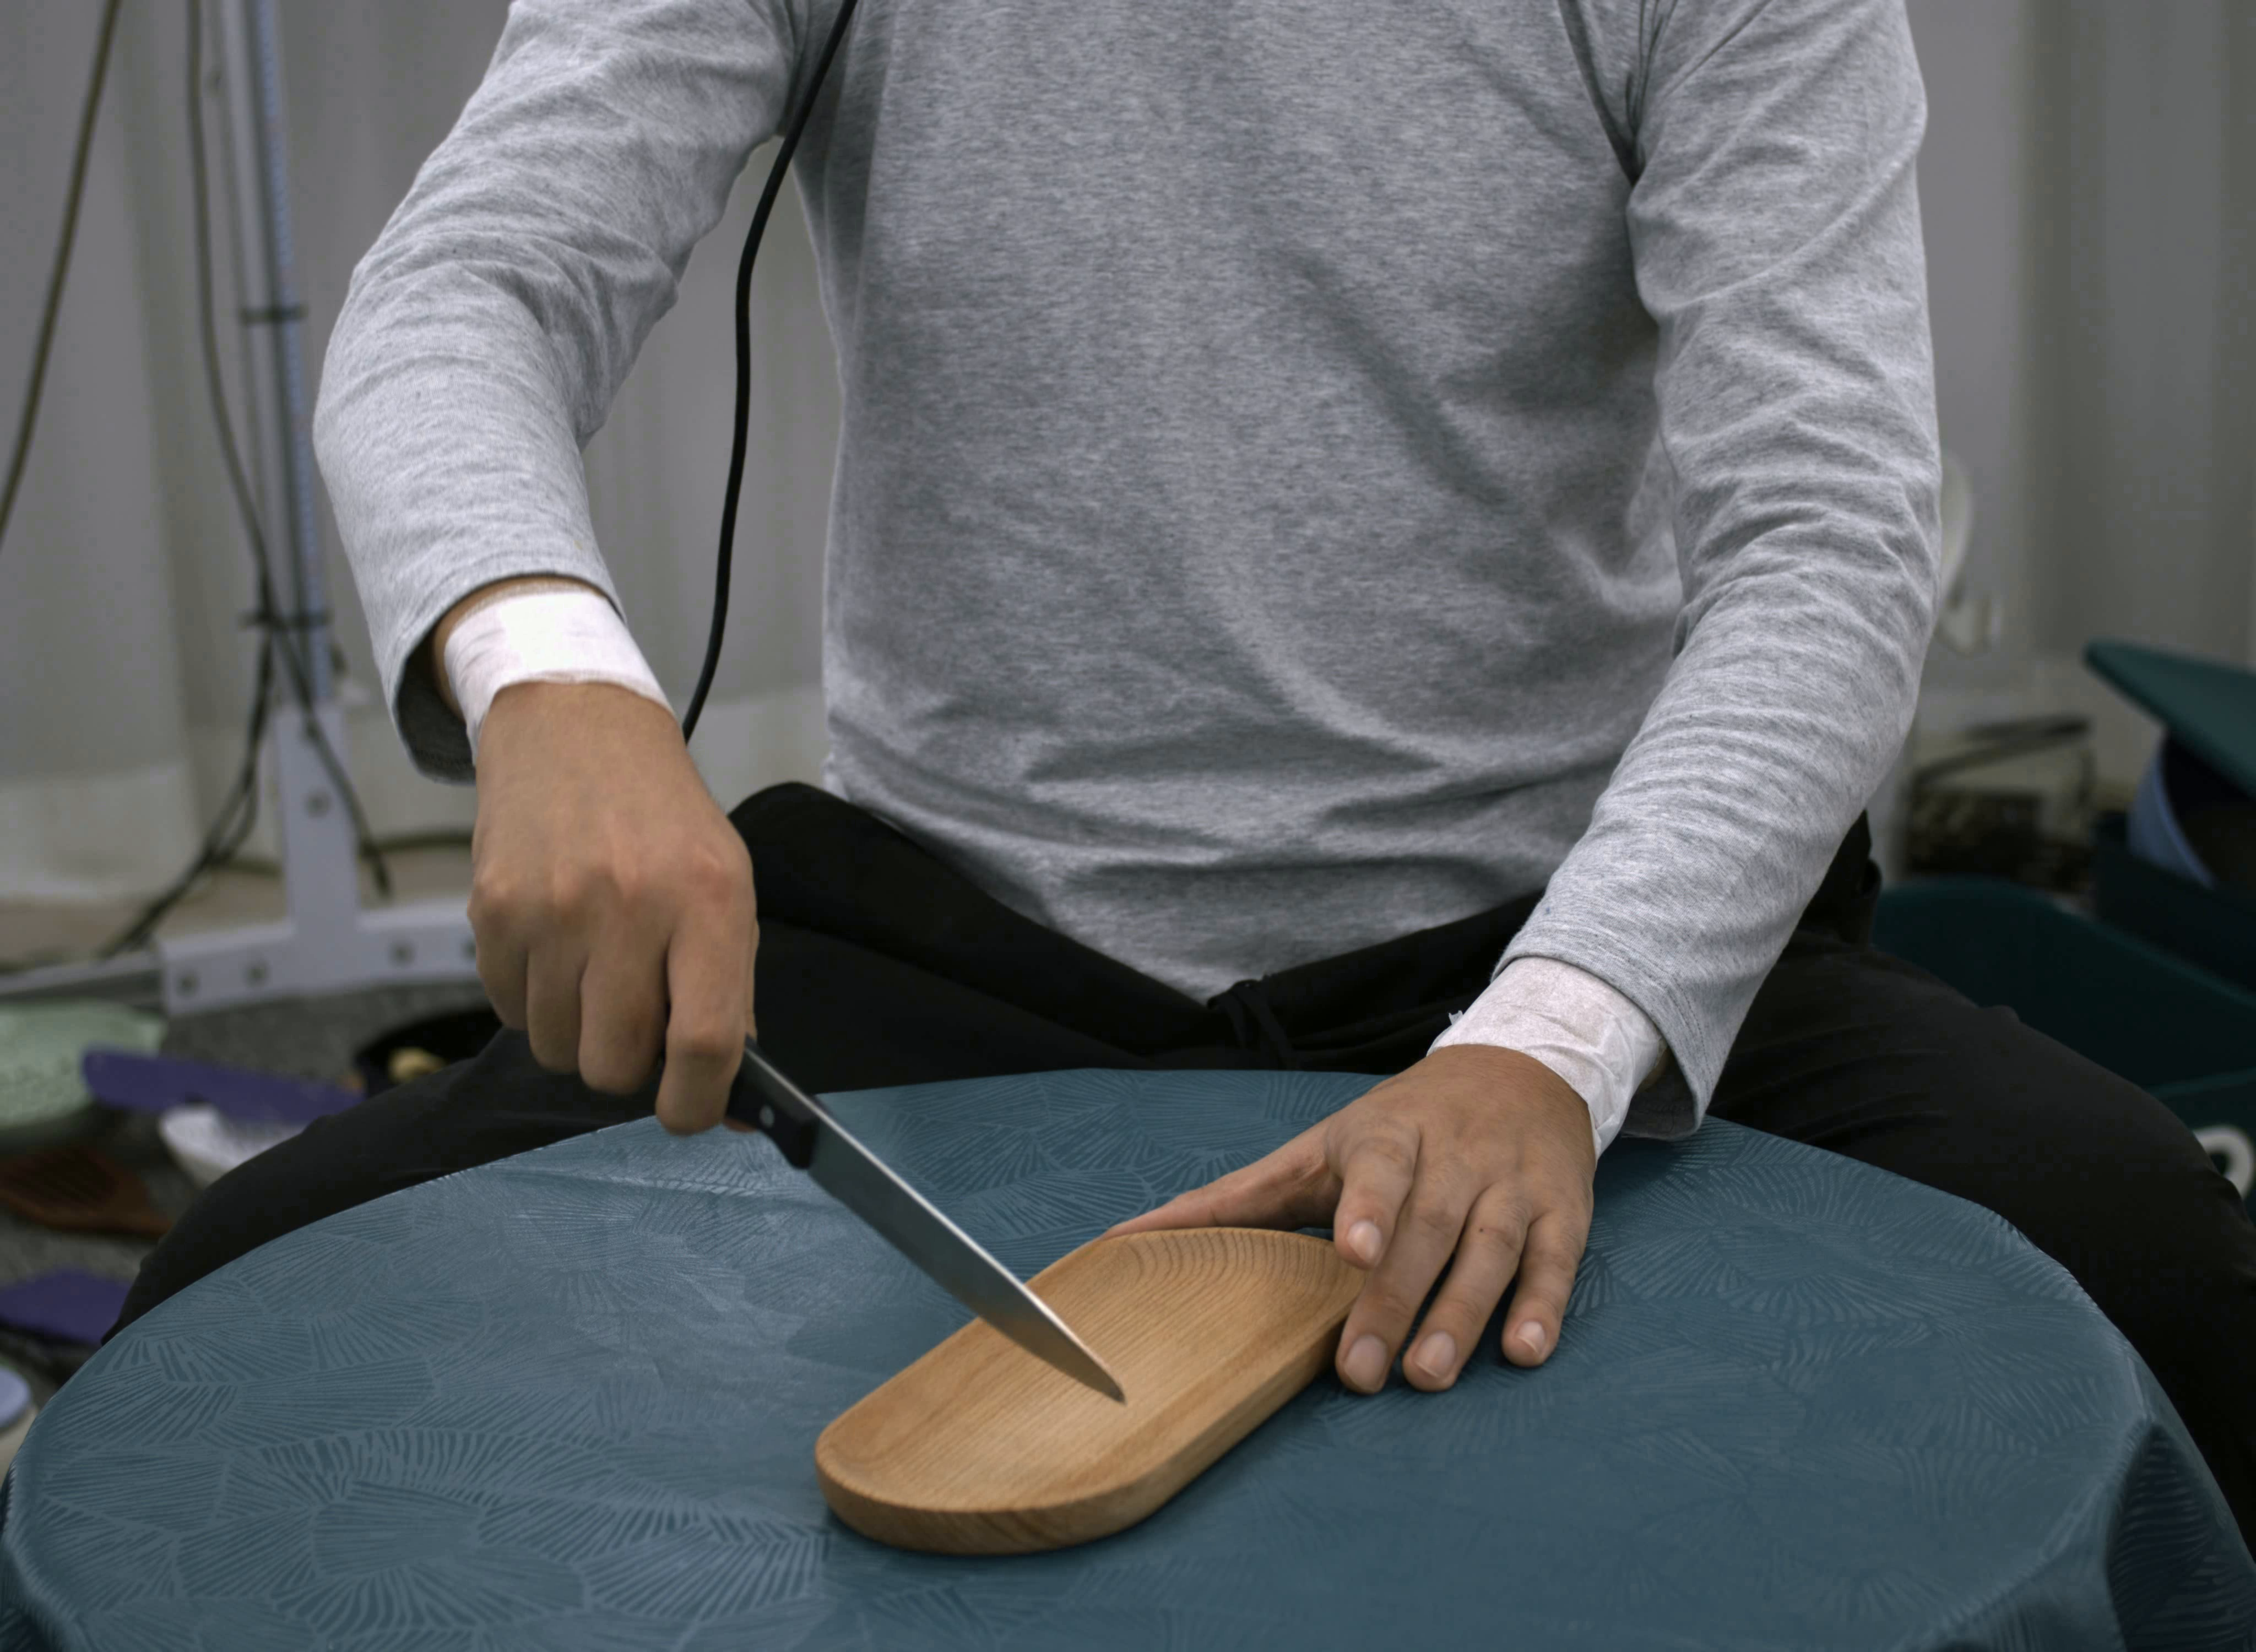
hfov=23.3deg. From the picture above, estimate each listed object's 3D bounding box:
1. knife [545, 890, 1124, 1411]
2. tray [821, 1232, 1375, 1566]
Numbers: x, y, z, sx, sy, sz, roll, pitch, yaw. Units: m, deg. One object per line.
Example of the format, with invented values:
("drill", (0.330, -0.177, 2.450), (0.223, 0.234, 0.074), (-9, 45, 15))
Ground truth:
("knife", (-0.081, 0.087, 1.518), (0.240, 0.024, 0.016), (39, 31, 29))
("tray", (-0.005, 0.158, 1.527), (0.102, 0.020, 0.232), (2, 17, 24))
